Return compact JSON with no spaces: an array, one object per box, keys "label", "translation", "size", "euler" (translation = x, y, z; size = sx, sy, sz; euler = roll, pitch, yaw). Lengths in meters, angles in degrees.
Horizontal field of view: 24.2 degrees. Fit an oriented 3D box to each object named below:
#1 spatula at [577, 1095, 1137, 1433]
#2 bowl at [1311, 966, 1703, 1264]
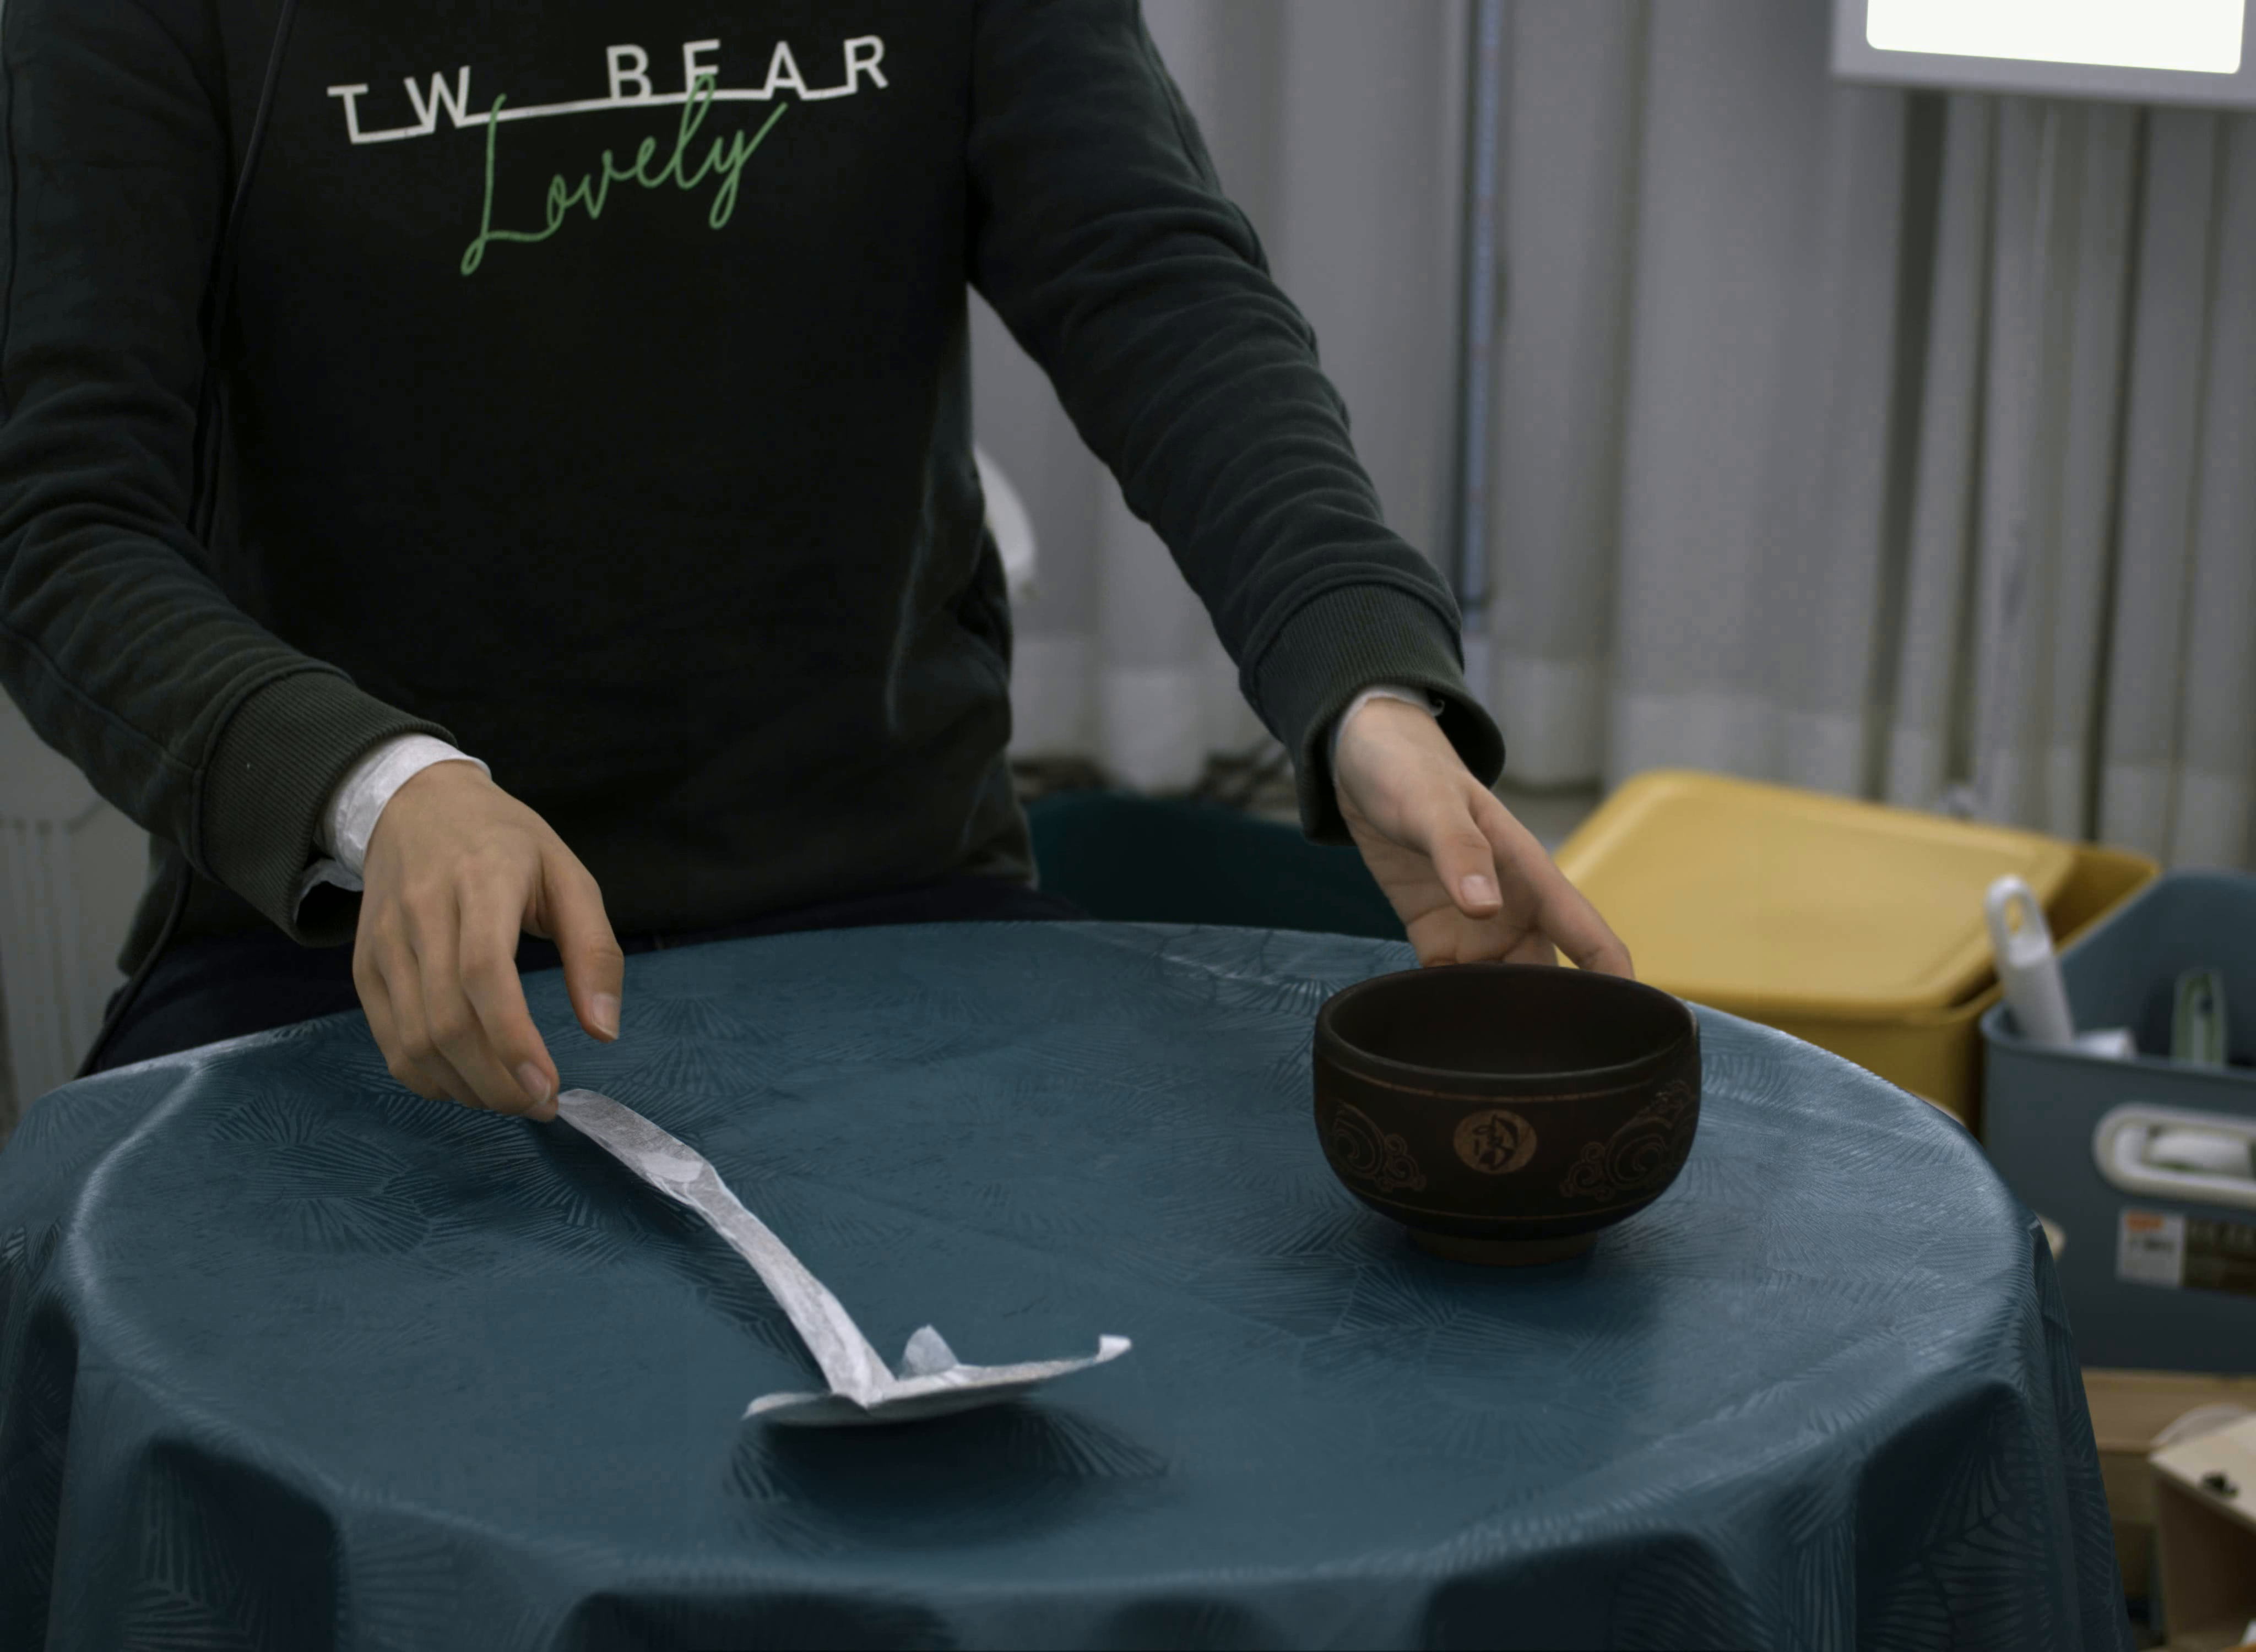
[{"label":"spatula","translation":[-0.105,0.118,1.533],"size":[0.099,0.045,0.360],"euler":[-8,18,-22]},{"label":"bowl","translation":[0.113,0.090,1.581],"size":[0.117,0.070,0.117],"euler":[0,14,0]}]
